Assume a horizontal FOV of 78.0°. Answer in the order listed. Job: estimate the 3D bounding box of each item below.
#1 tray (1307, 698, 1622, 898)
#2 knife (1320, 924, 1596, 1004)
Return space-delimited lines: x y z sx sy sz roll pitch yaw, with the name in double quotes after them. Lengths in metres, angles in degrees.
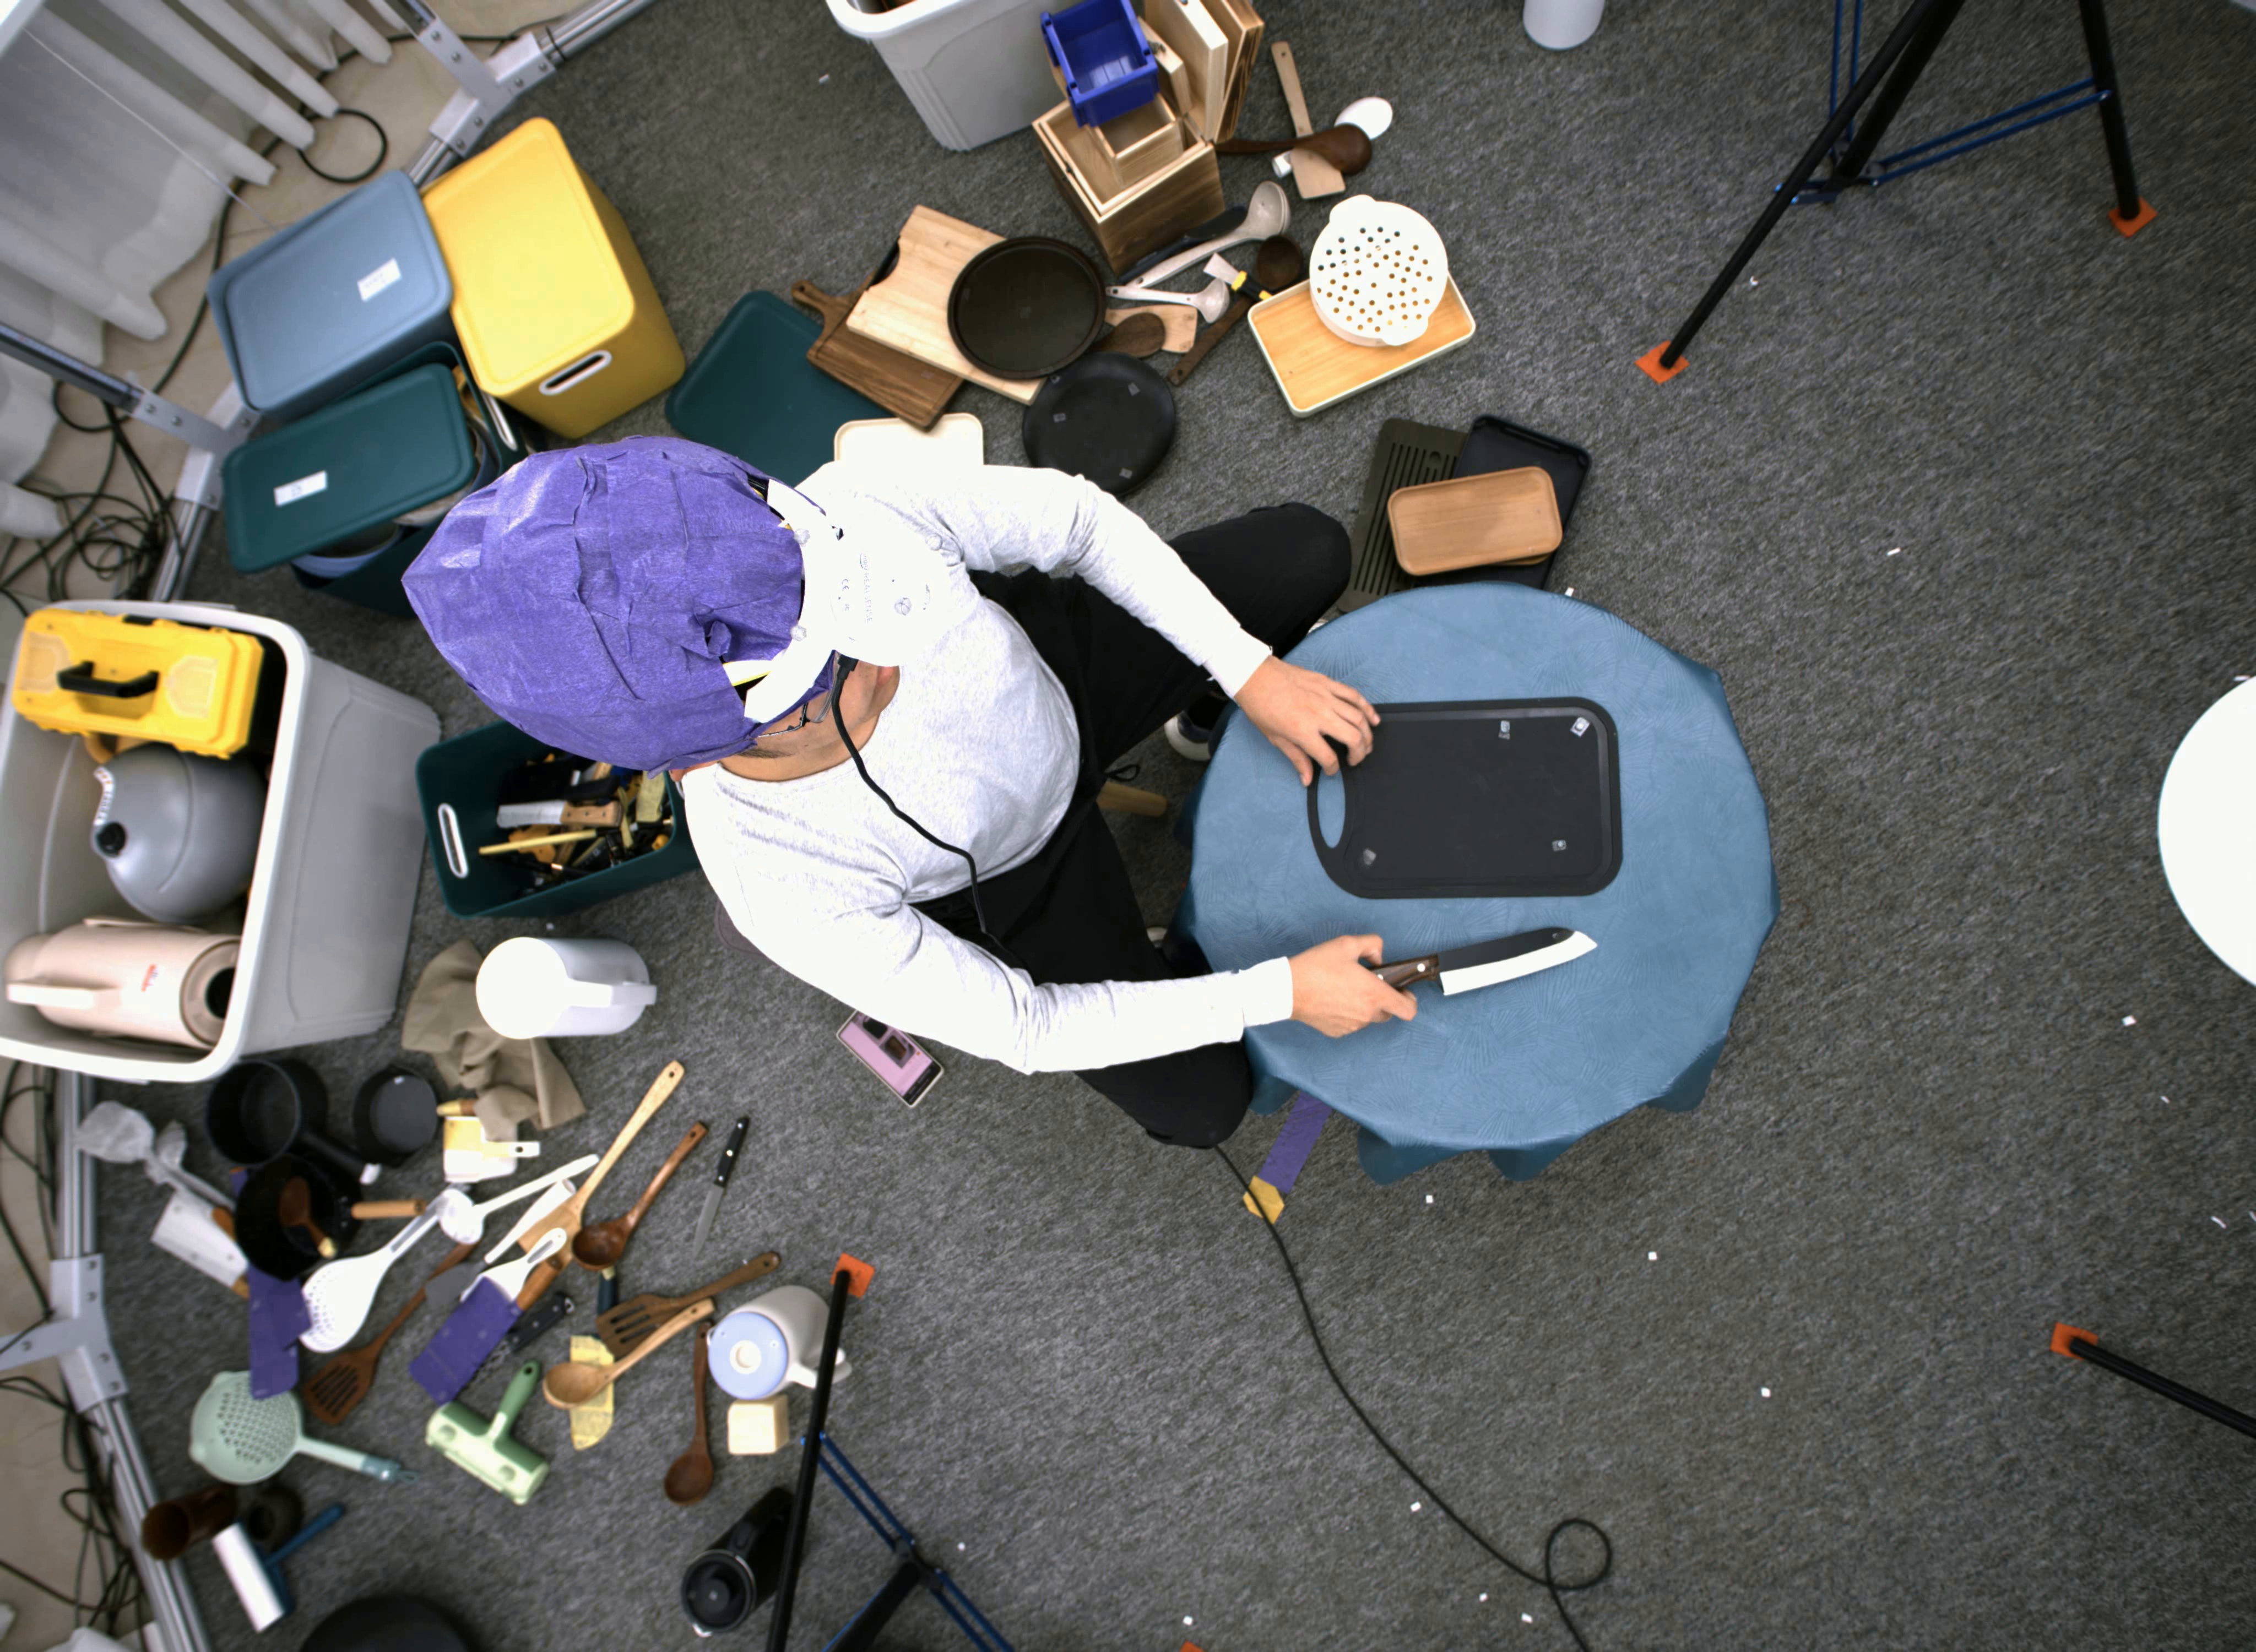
0.352 -0.032 1.448 0.327 0.010 0.210 -1 86 11 "tray"
0.341 0.143 1.422 0.290 0.020 0.050 -11 82 2 "knife"
